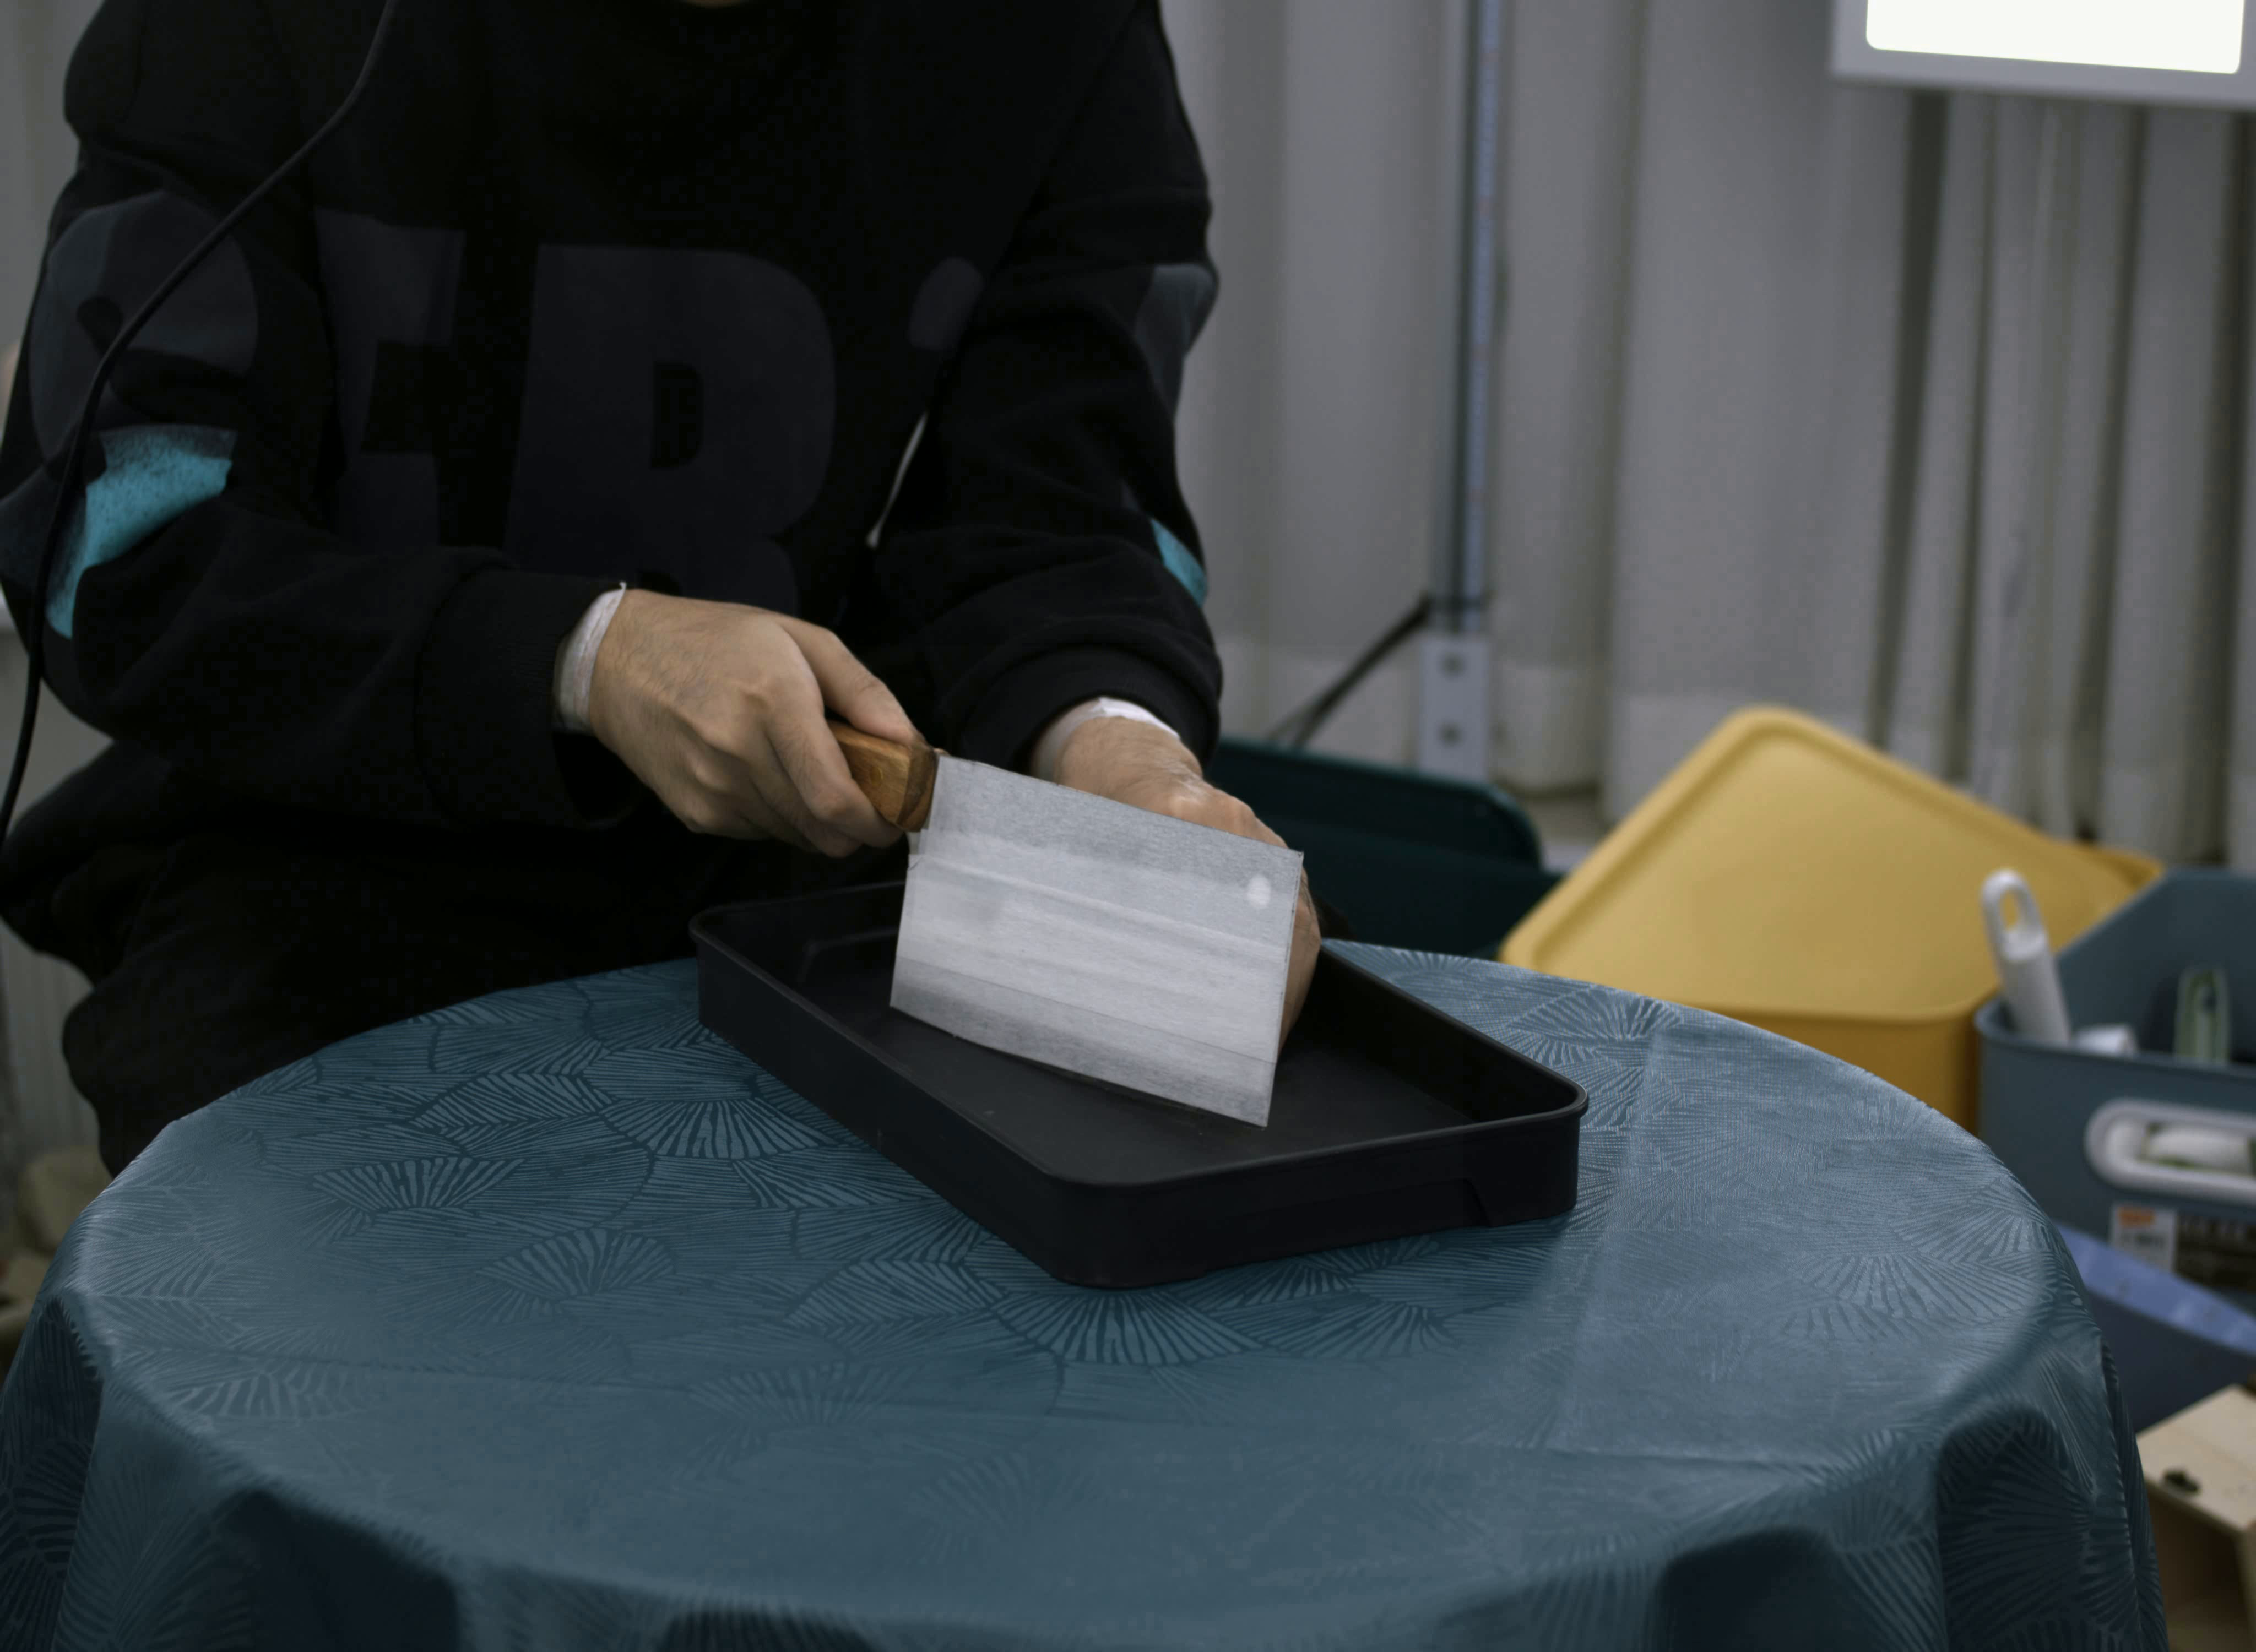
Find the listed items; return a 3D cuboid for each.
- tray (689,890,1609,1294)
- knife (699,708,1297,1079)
[{"bbox_3d":[0.000,0.074,1.692,0.185,0.037,0.314,-8,18,-28],"label":"tray"},{"bbox_3d":[-0.049,0.022,1.745,0.021,0.093,0.301,-1,11,-42],"label":"knife"}]
